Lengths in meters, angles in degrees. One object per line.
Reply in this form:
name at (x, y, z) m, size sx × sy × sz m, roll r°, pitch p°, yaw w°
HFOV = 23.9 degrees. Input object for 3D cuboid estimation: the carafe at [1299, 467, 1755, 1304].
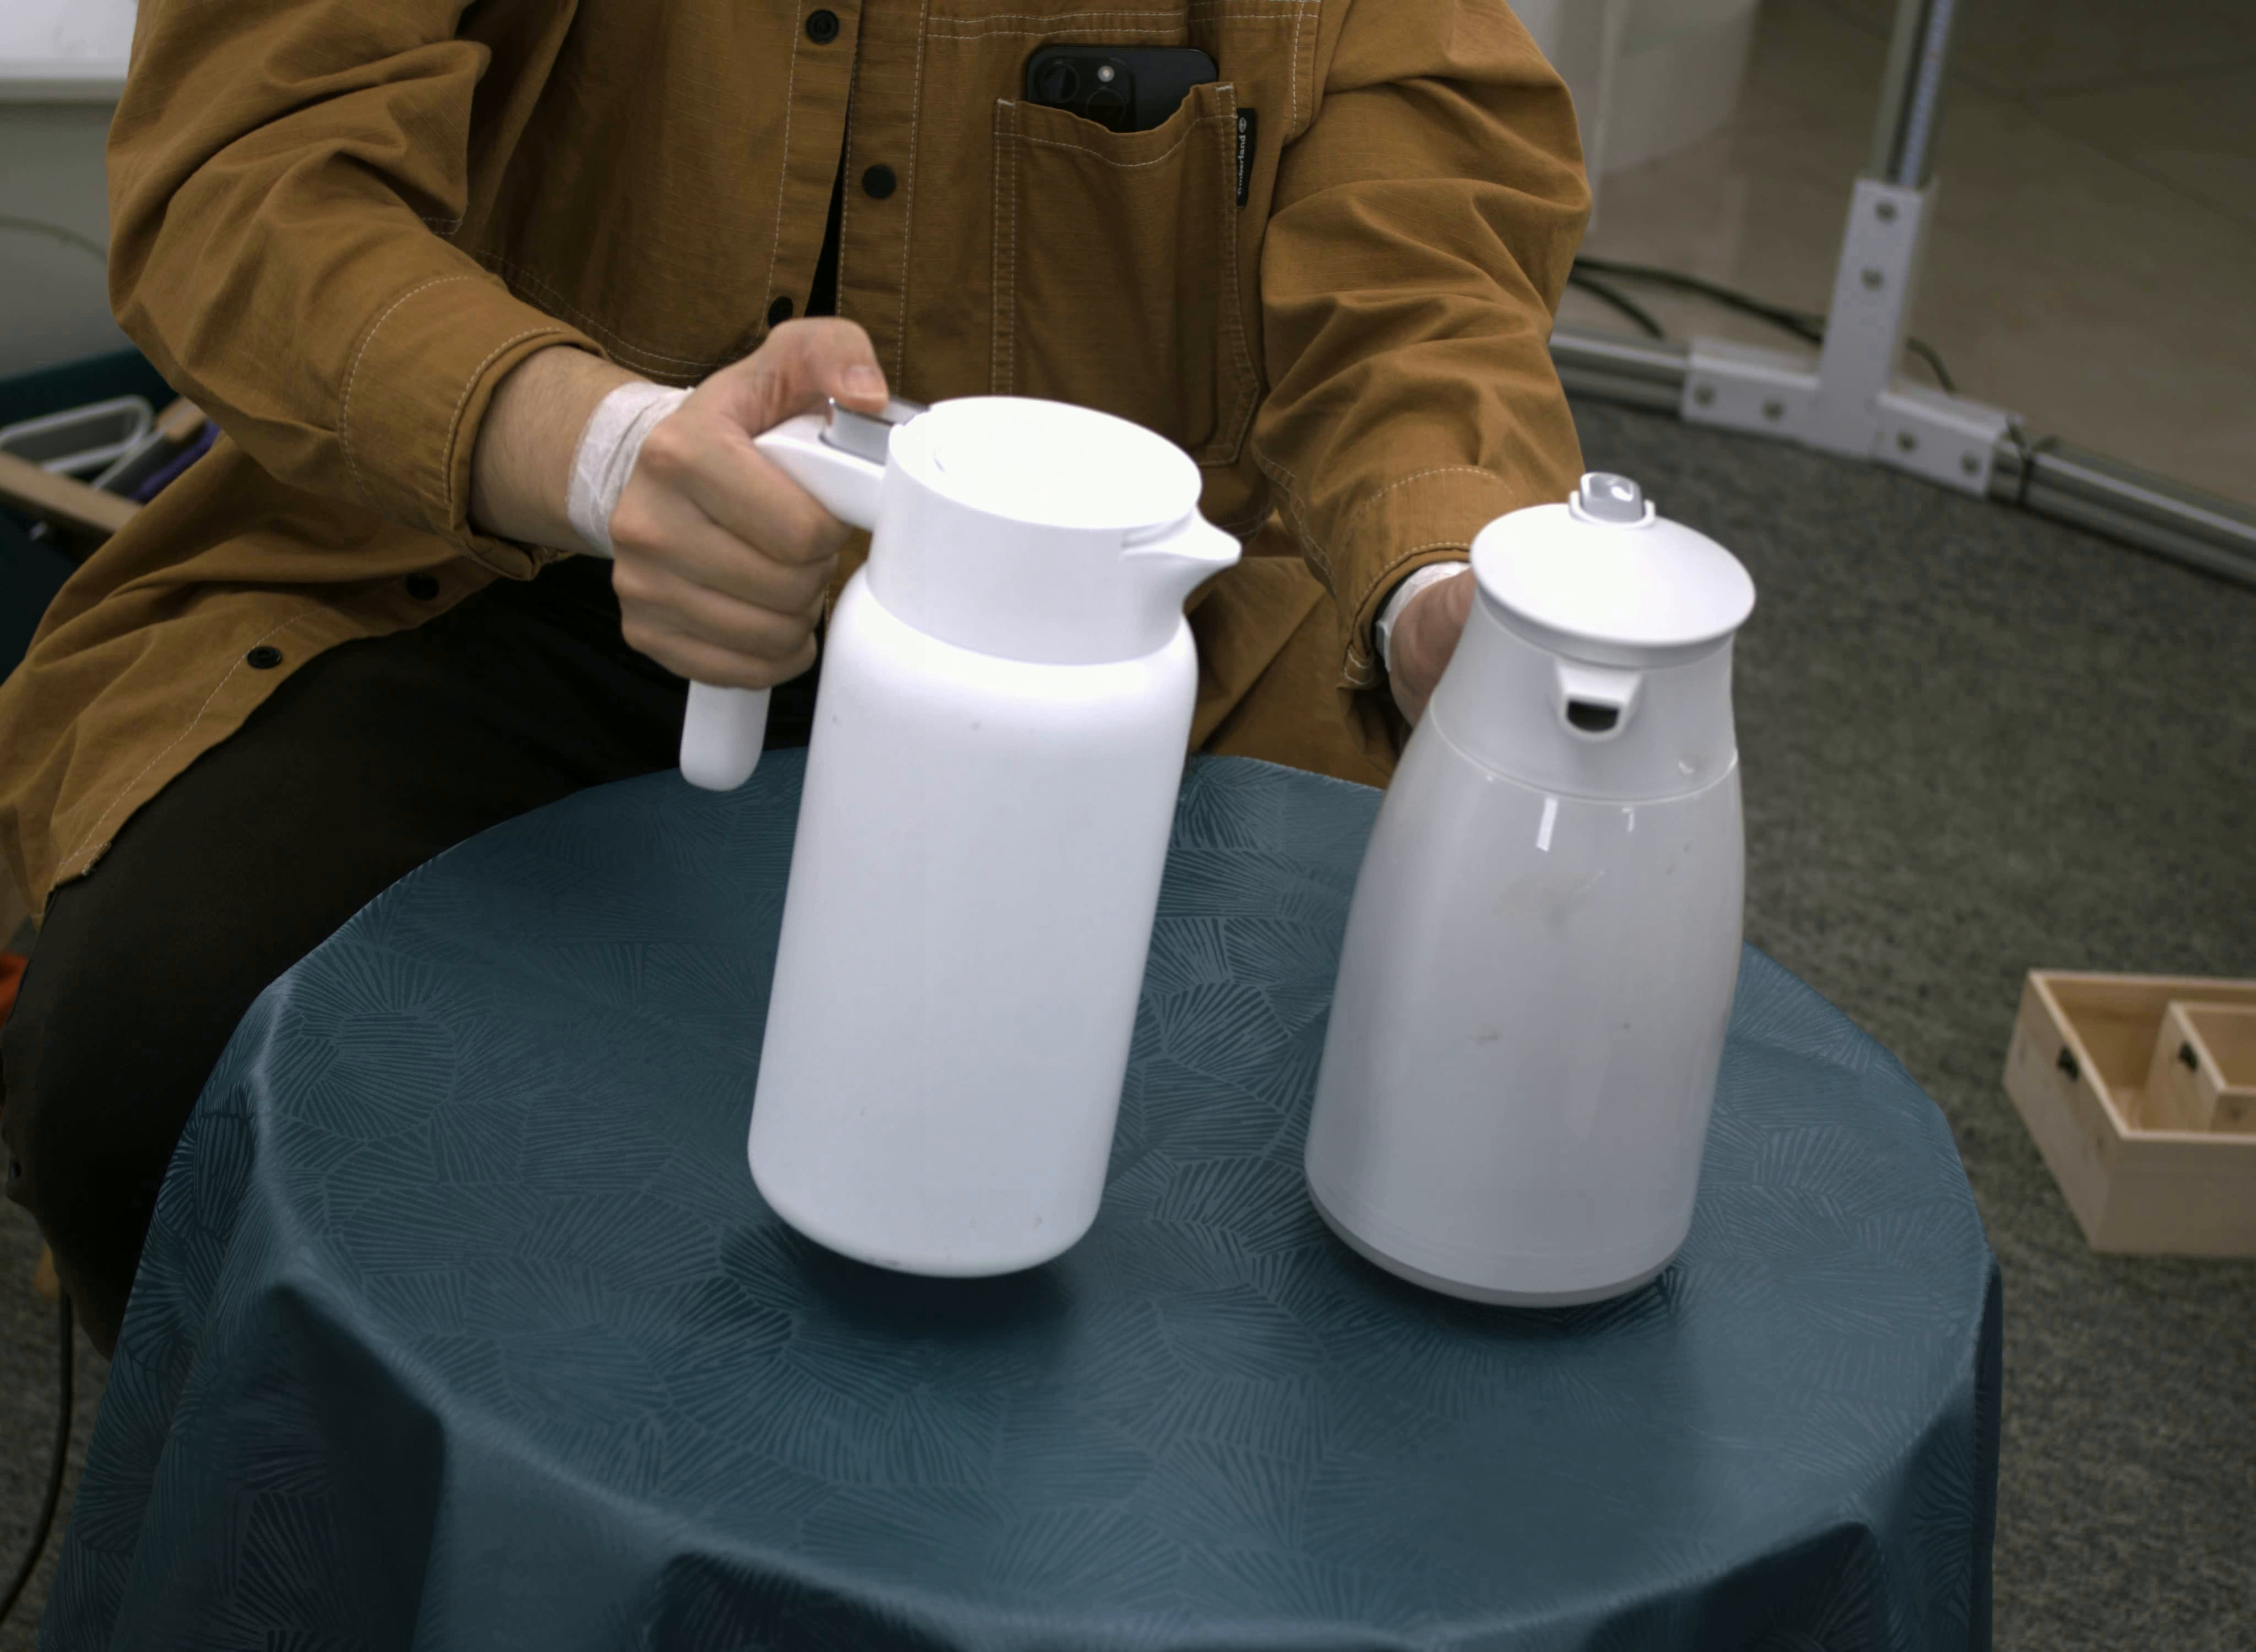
carafe at (0.139, 0.008, 1.750) m, size 0.132 × 0.248 × 0.168 m, roll 9°, pitch 29°, yaw 2°

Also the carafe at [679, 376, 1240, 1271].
carafe at (-0.064, -0.004, 1.690) m, size 0.173 × 0.268 × 0.124 m, roll 20°, pitch 29°, yaw 20°
